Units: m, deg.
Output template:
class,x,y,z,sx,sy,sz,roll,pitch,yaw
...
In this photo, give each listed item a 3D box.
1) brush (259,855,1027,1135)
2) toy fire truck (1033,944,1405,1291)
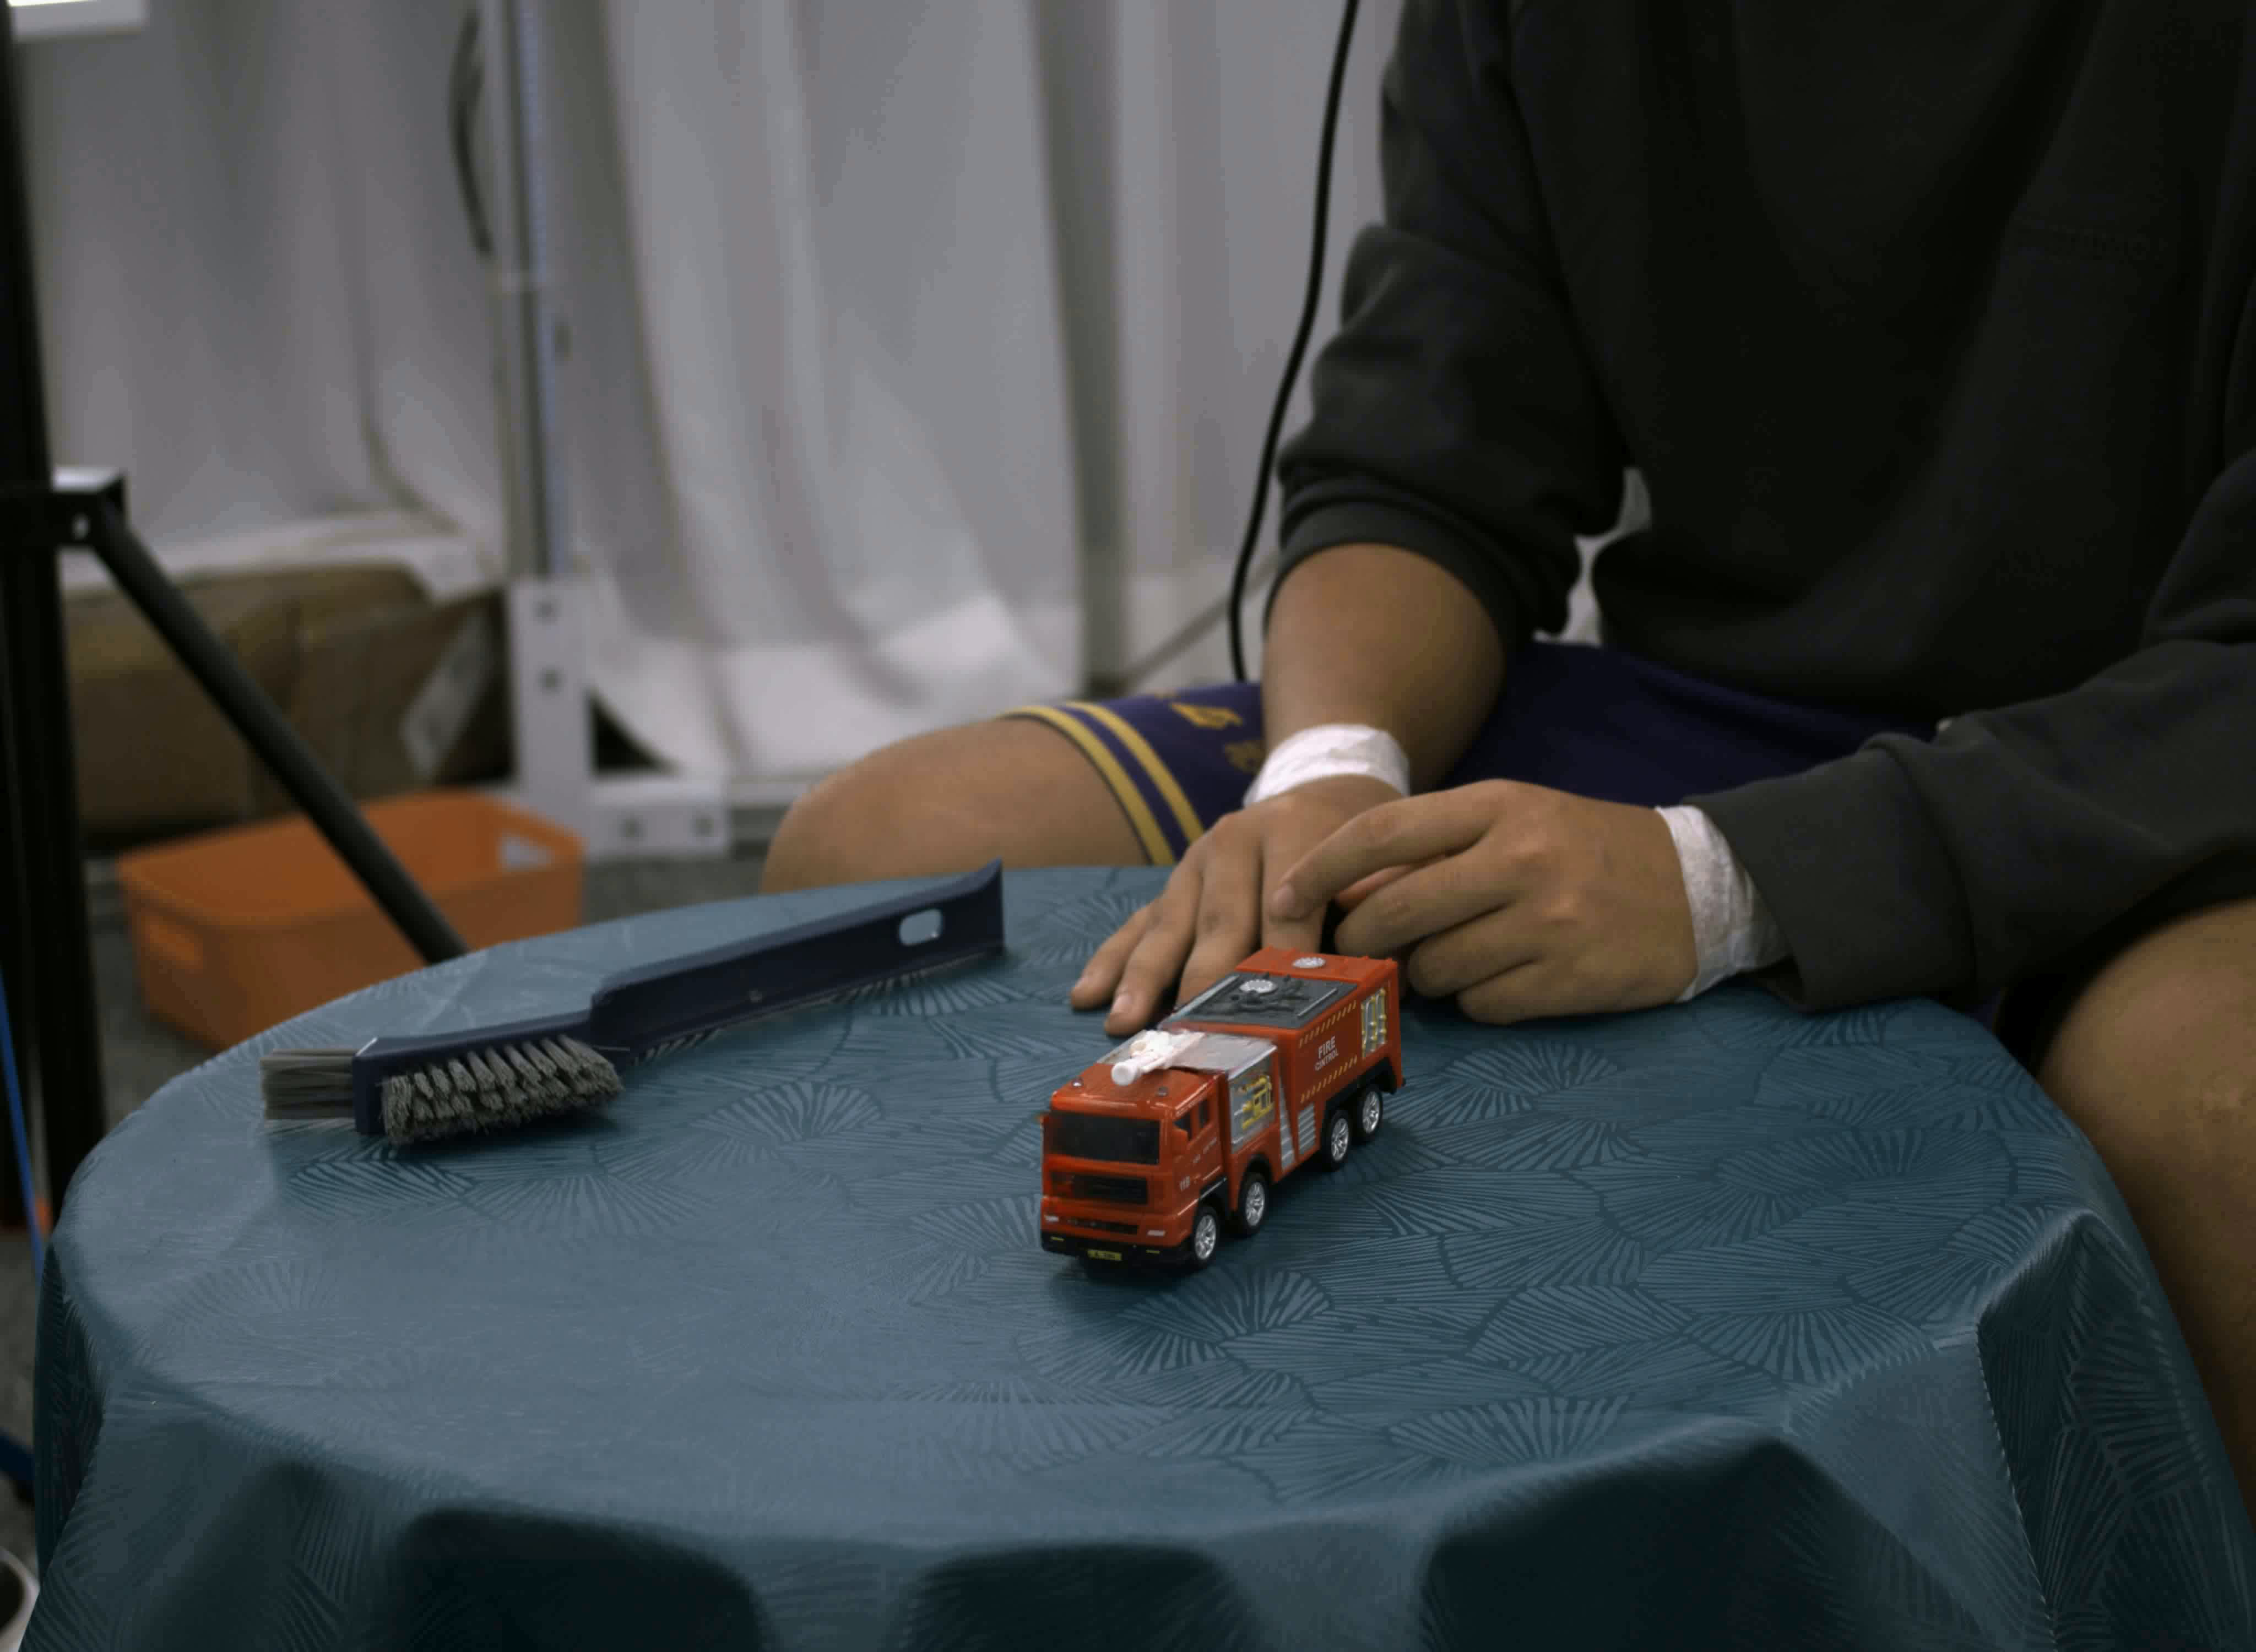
class,x,y,z,sx,sy,sz,roll,pitch,yaw
brush,-0.147,0.053,1.721,0.098,0.033,0.267,11,22,42
toy fire truck,0.029,0.081,1.543,0.055,0.070,0.165,5,17,26
